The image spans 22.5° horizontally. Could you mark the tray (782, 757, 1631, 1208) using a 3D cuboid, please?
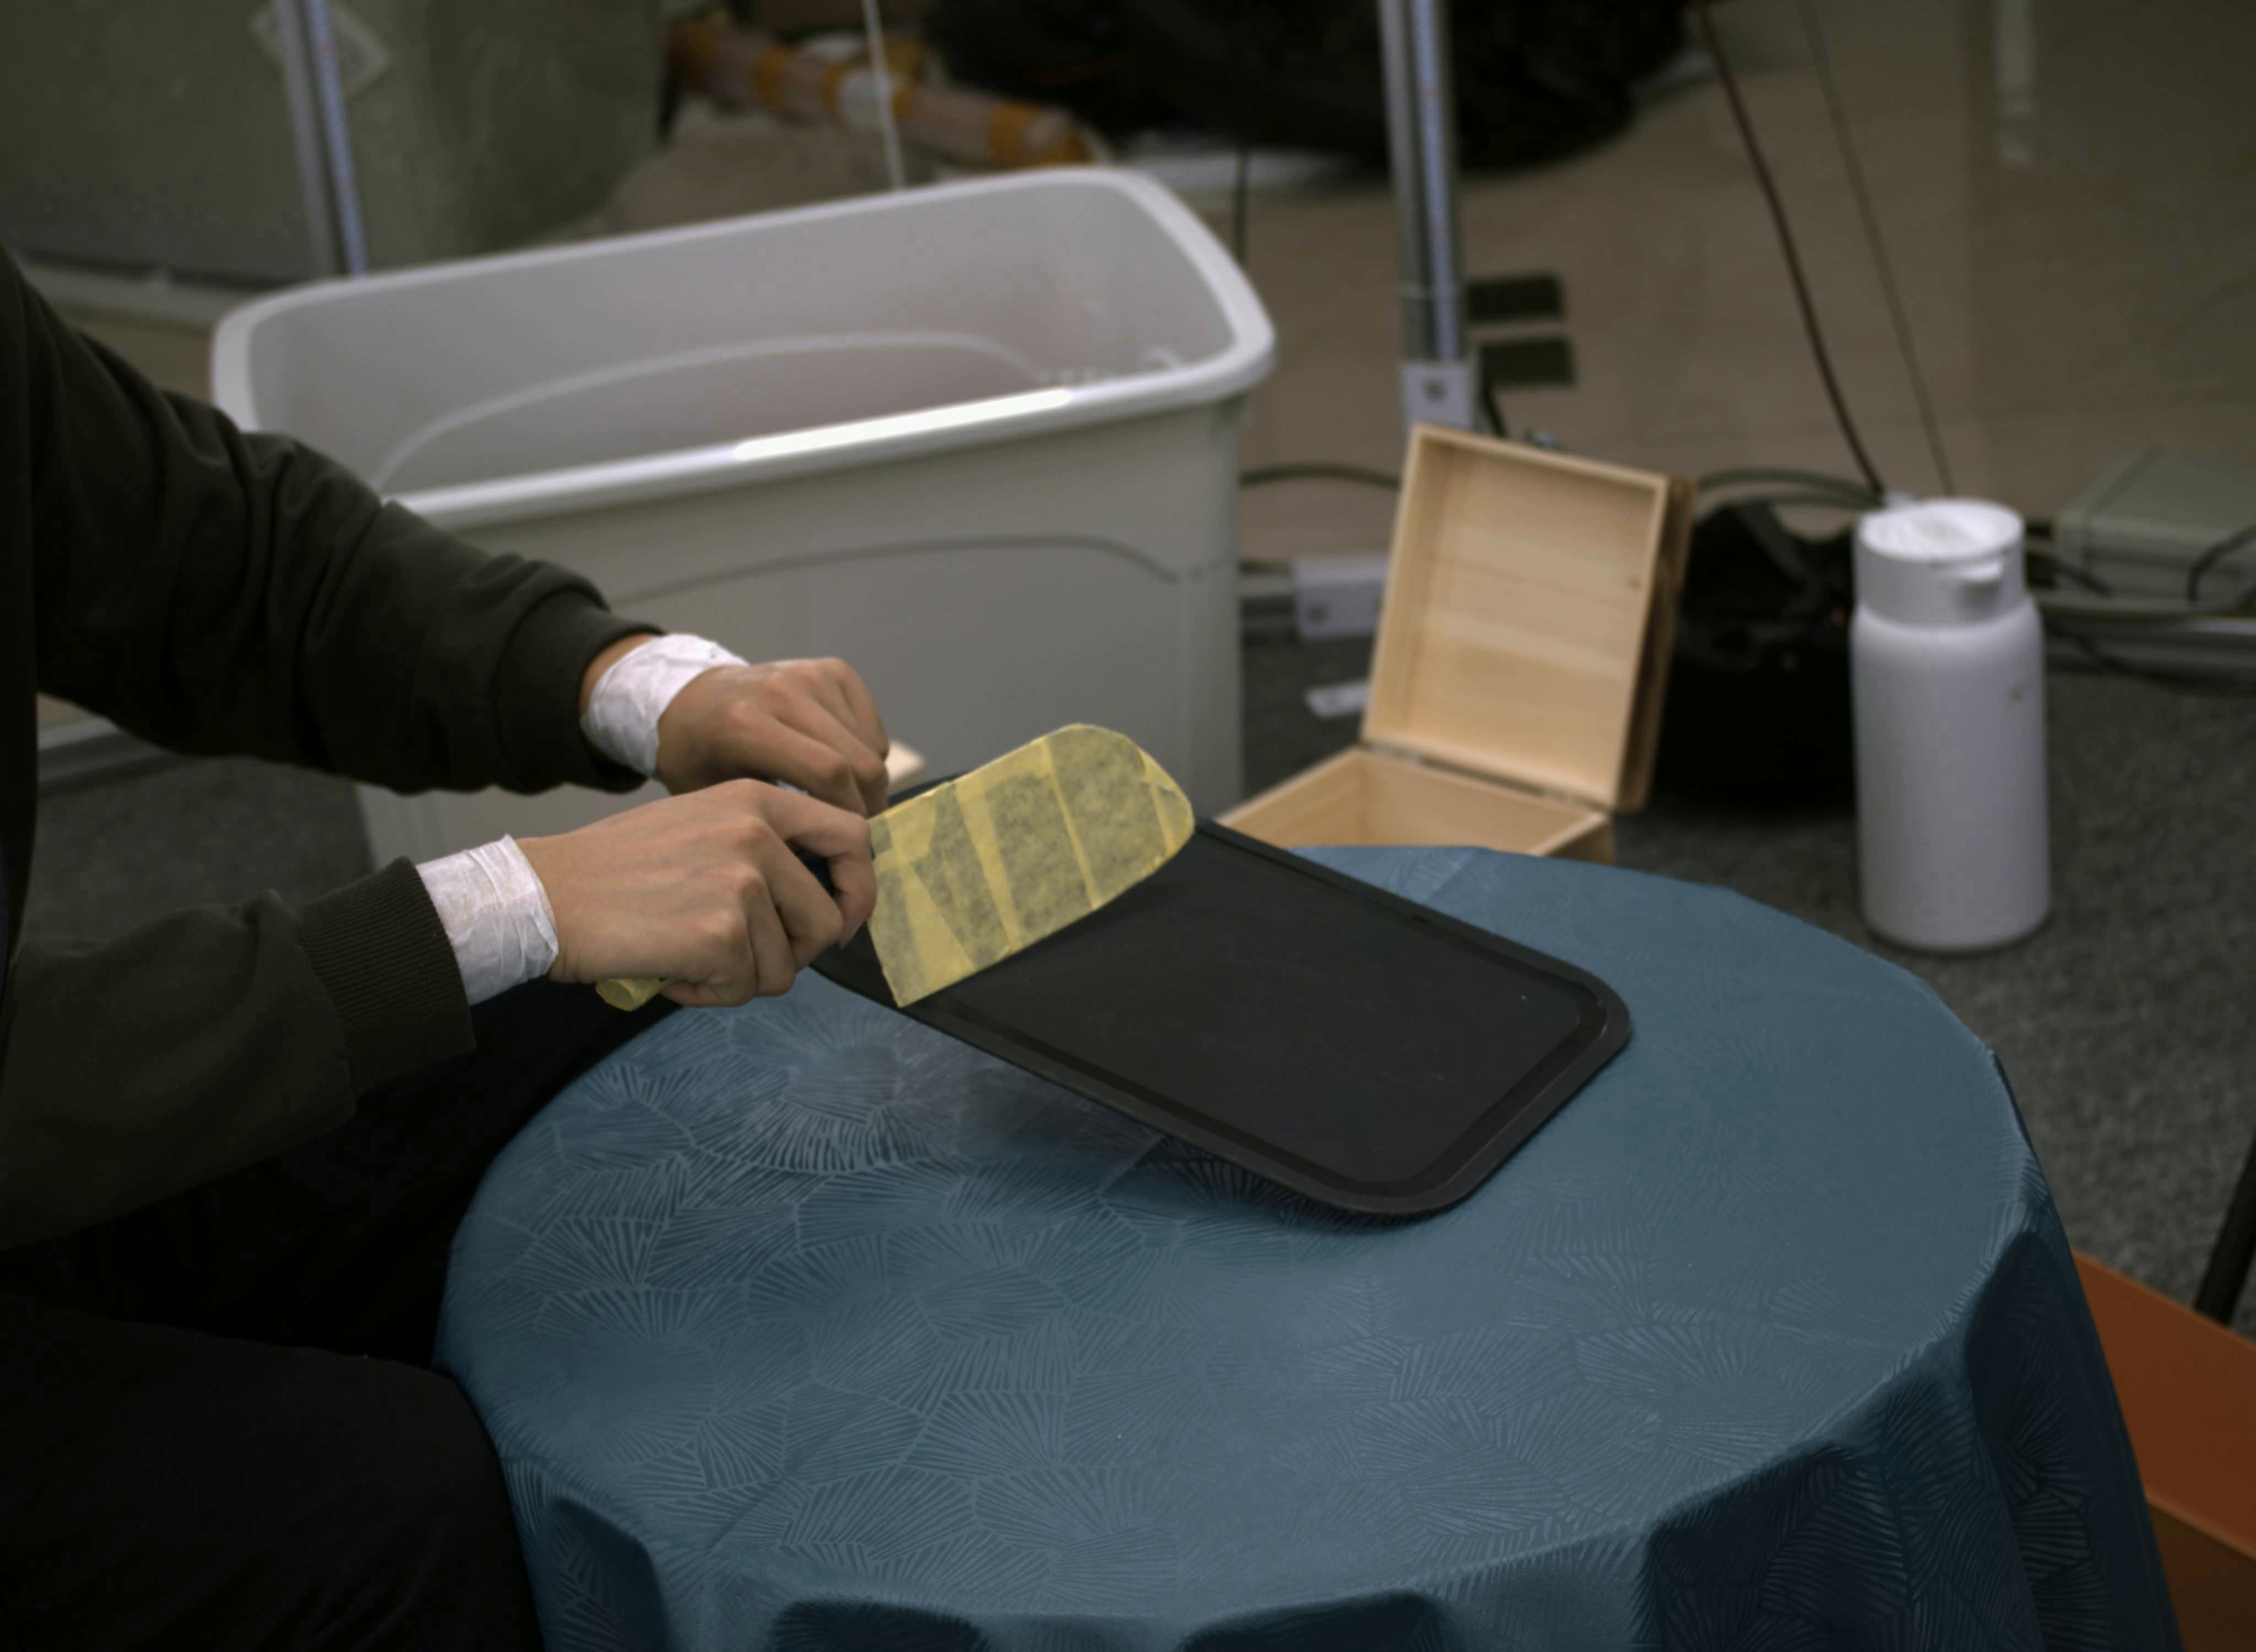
[{"bbox_3d":[0.023,0.053,2.226,0.323,0.010,0.209,23,35,23],"label":"tray"}]

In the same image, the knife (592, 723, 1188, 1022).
[{"bbox_3d":[-0.084,0.028,2.179,0.287,0.081,0.027,-22,8,-36],"label":"knife"}]
